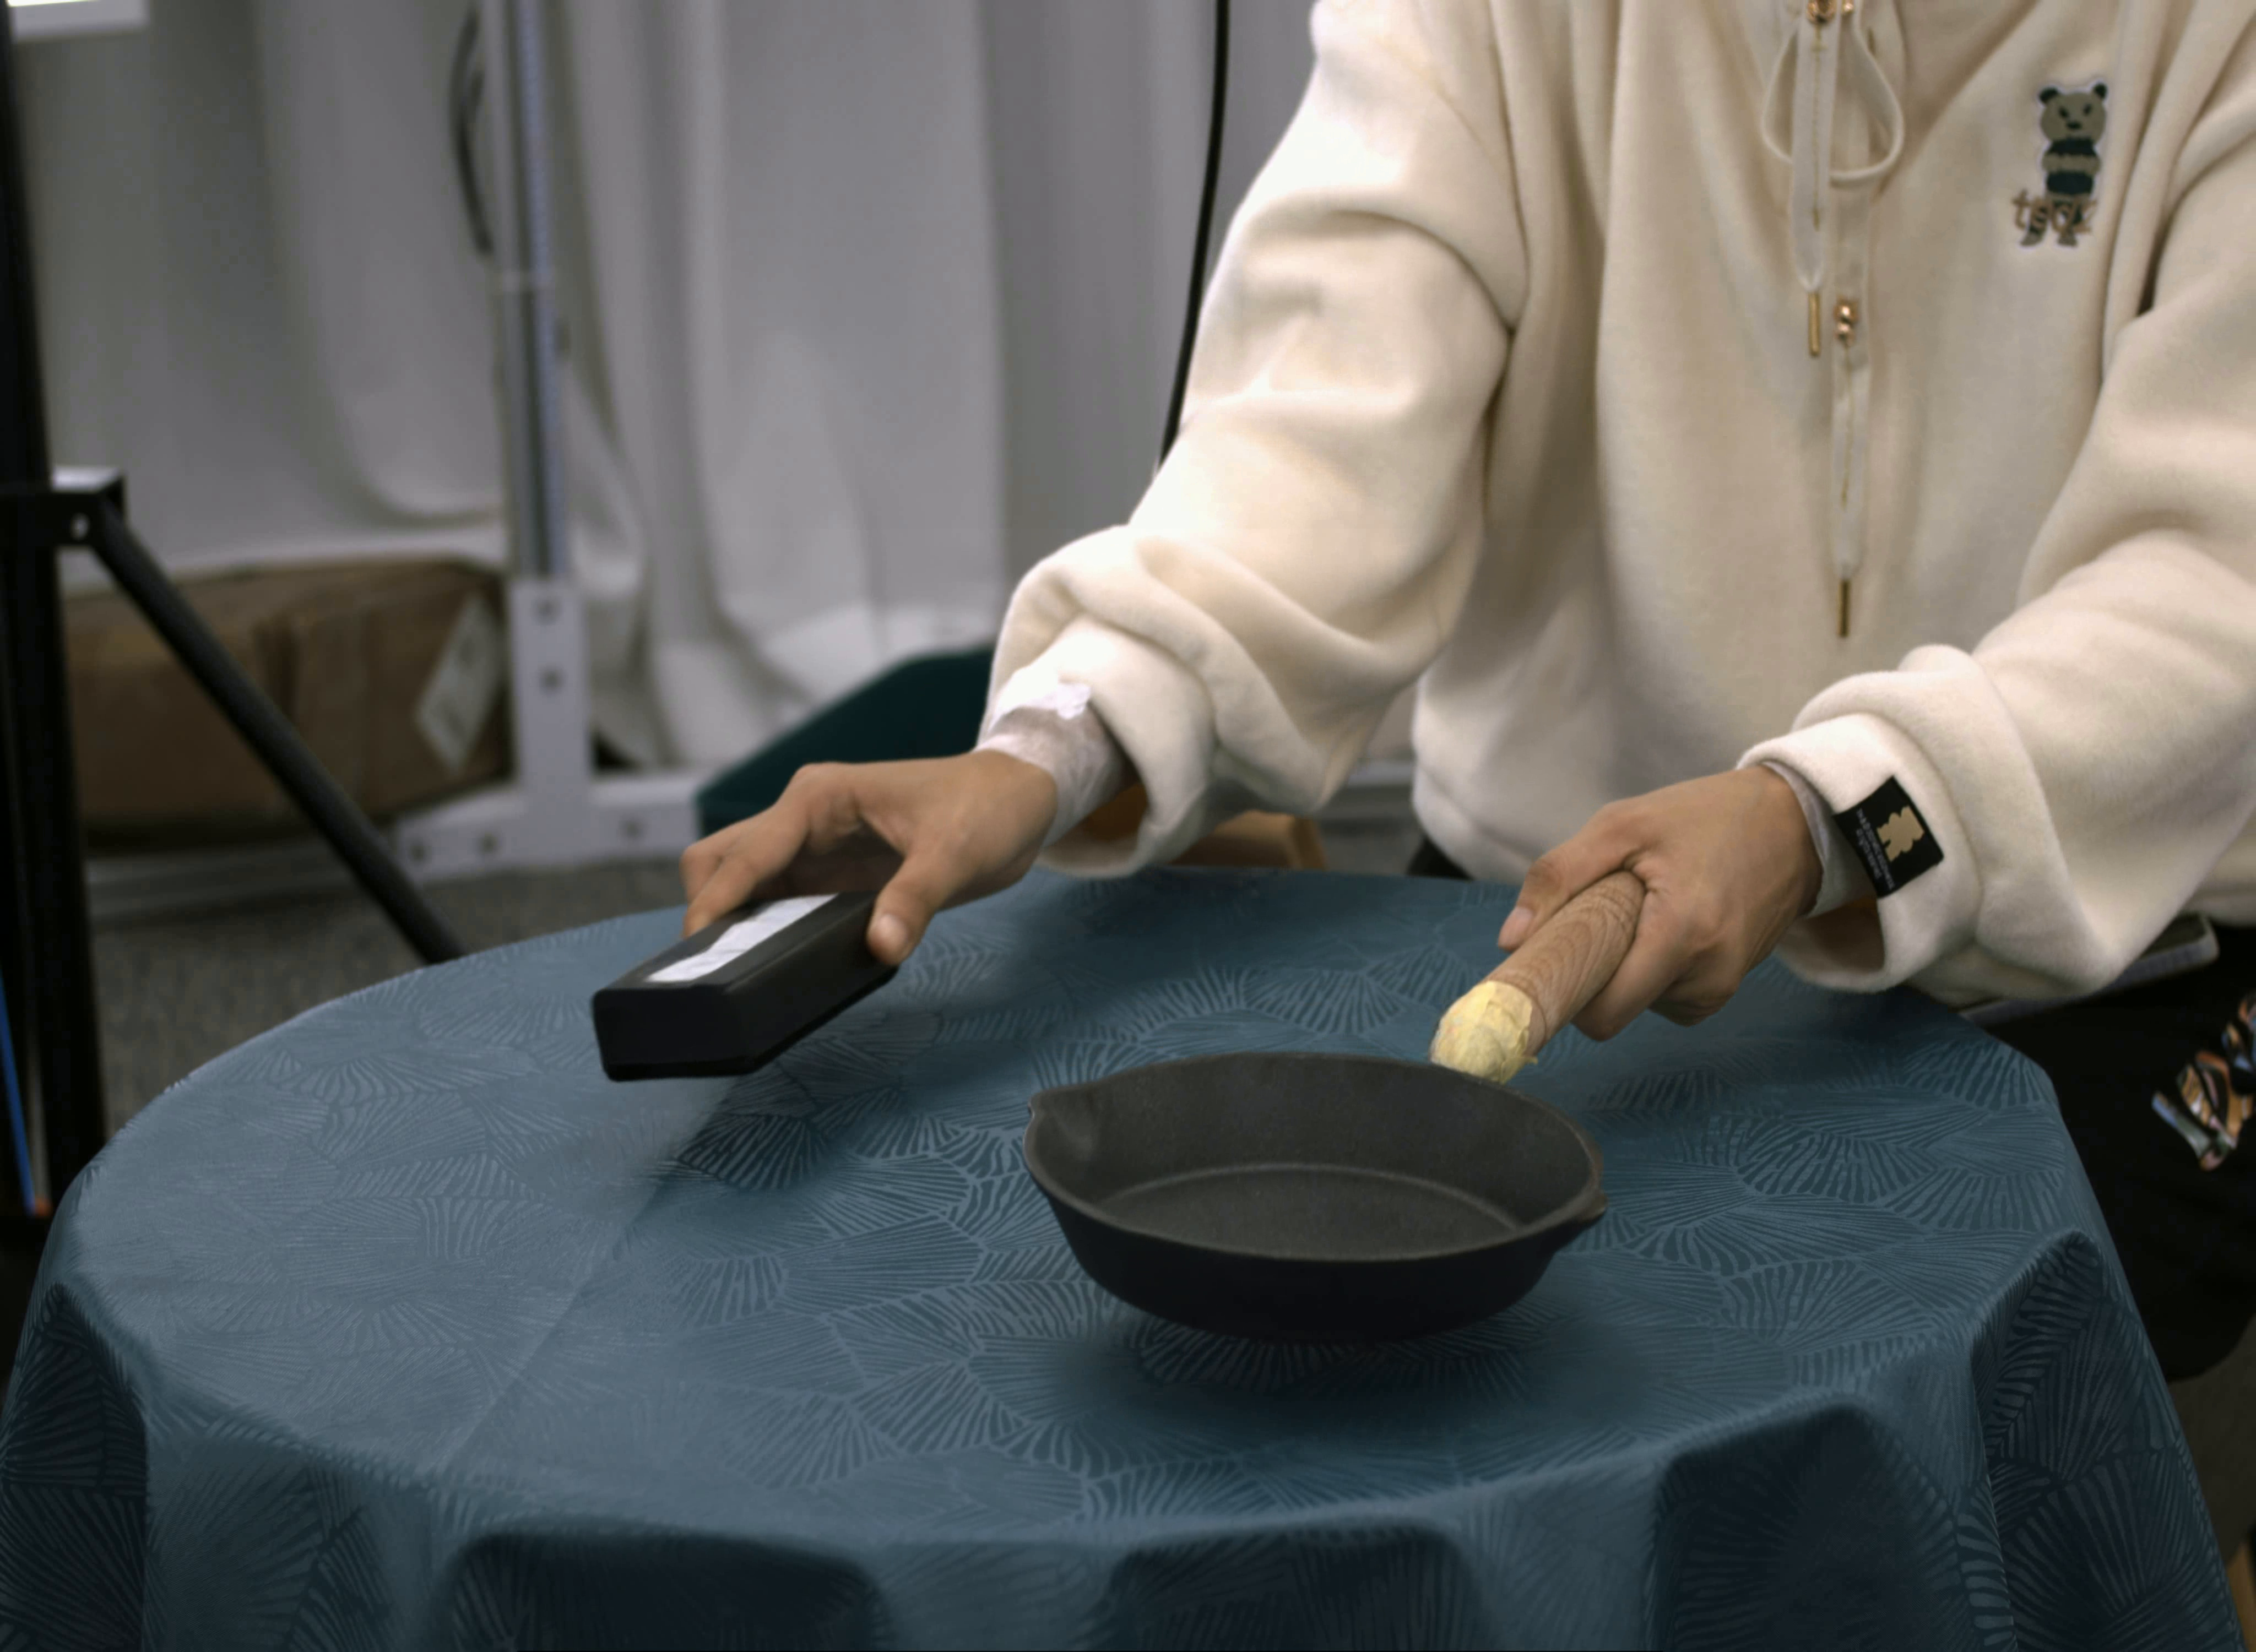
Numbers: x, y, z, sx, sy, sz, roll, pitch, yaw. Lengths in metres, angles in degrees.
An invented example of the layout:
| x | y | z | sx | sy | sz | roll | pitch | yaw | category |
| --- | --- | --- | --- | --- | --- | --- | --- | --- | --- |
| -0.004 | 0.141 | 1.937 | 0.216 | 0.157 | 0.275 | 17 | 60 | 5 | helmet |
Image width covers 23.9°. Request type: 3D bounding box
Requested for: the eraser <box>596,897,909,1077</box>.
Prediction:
| x | y | z | sx | sy | sz | roll | pitch | yaw | category |
| --- | --- | --- | --- | --- | --- | --- | --- | --- | --- |
| -0.112 | 0.049 | 1.630 | 0.054 | 0.030 | 0.124 | -4 | 10 | 21 | eraser |

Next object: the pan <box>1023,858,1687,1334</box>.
| x | y | z | sx | sy | sz | roll | pitch | yaw | category |
| --- | --- | --- | --- | --- | --- | --- | --- | --- | --- |
| 0.090 | 0.072 | 1.498 | 0.172 | 0.049 | 0.318 | 9 | 20 | 29 | pan |
